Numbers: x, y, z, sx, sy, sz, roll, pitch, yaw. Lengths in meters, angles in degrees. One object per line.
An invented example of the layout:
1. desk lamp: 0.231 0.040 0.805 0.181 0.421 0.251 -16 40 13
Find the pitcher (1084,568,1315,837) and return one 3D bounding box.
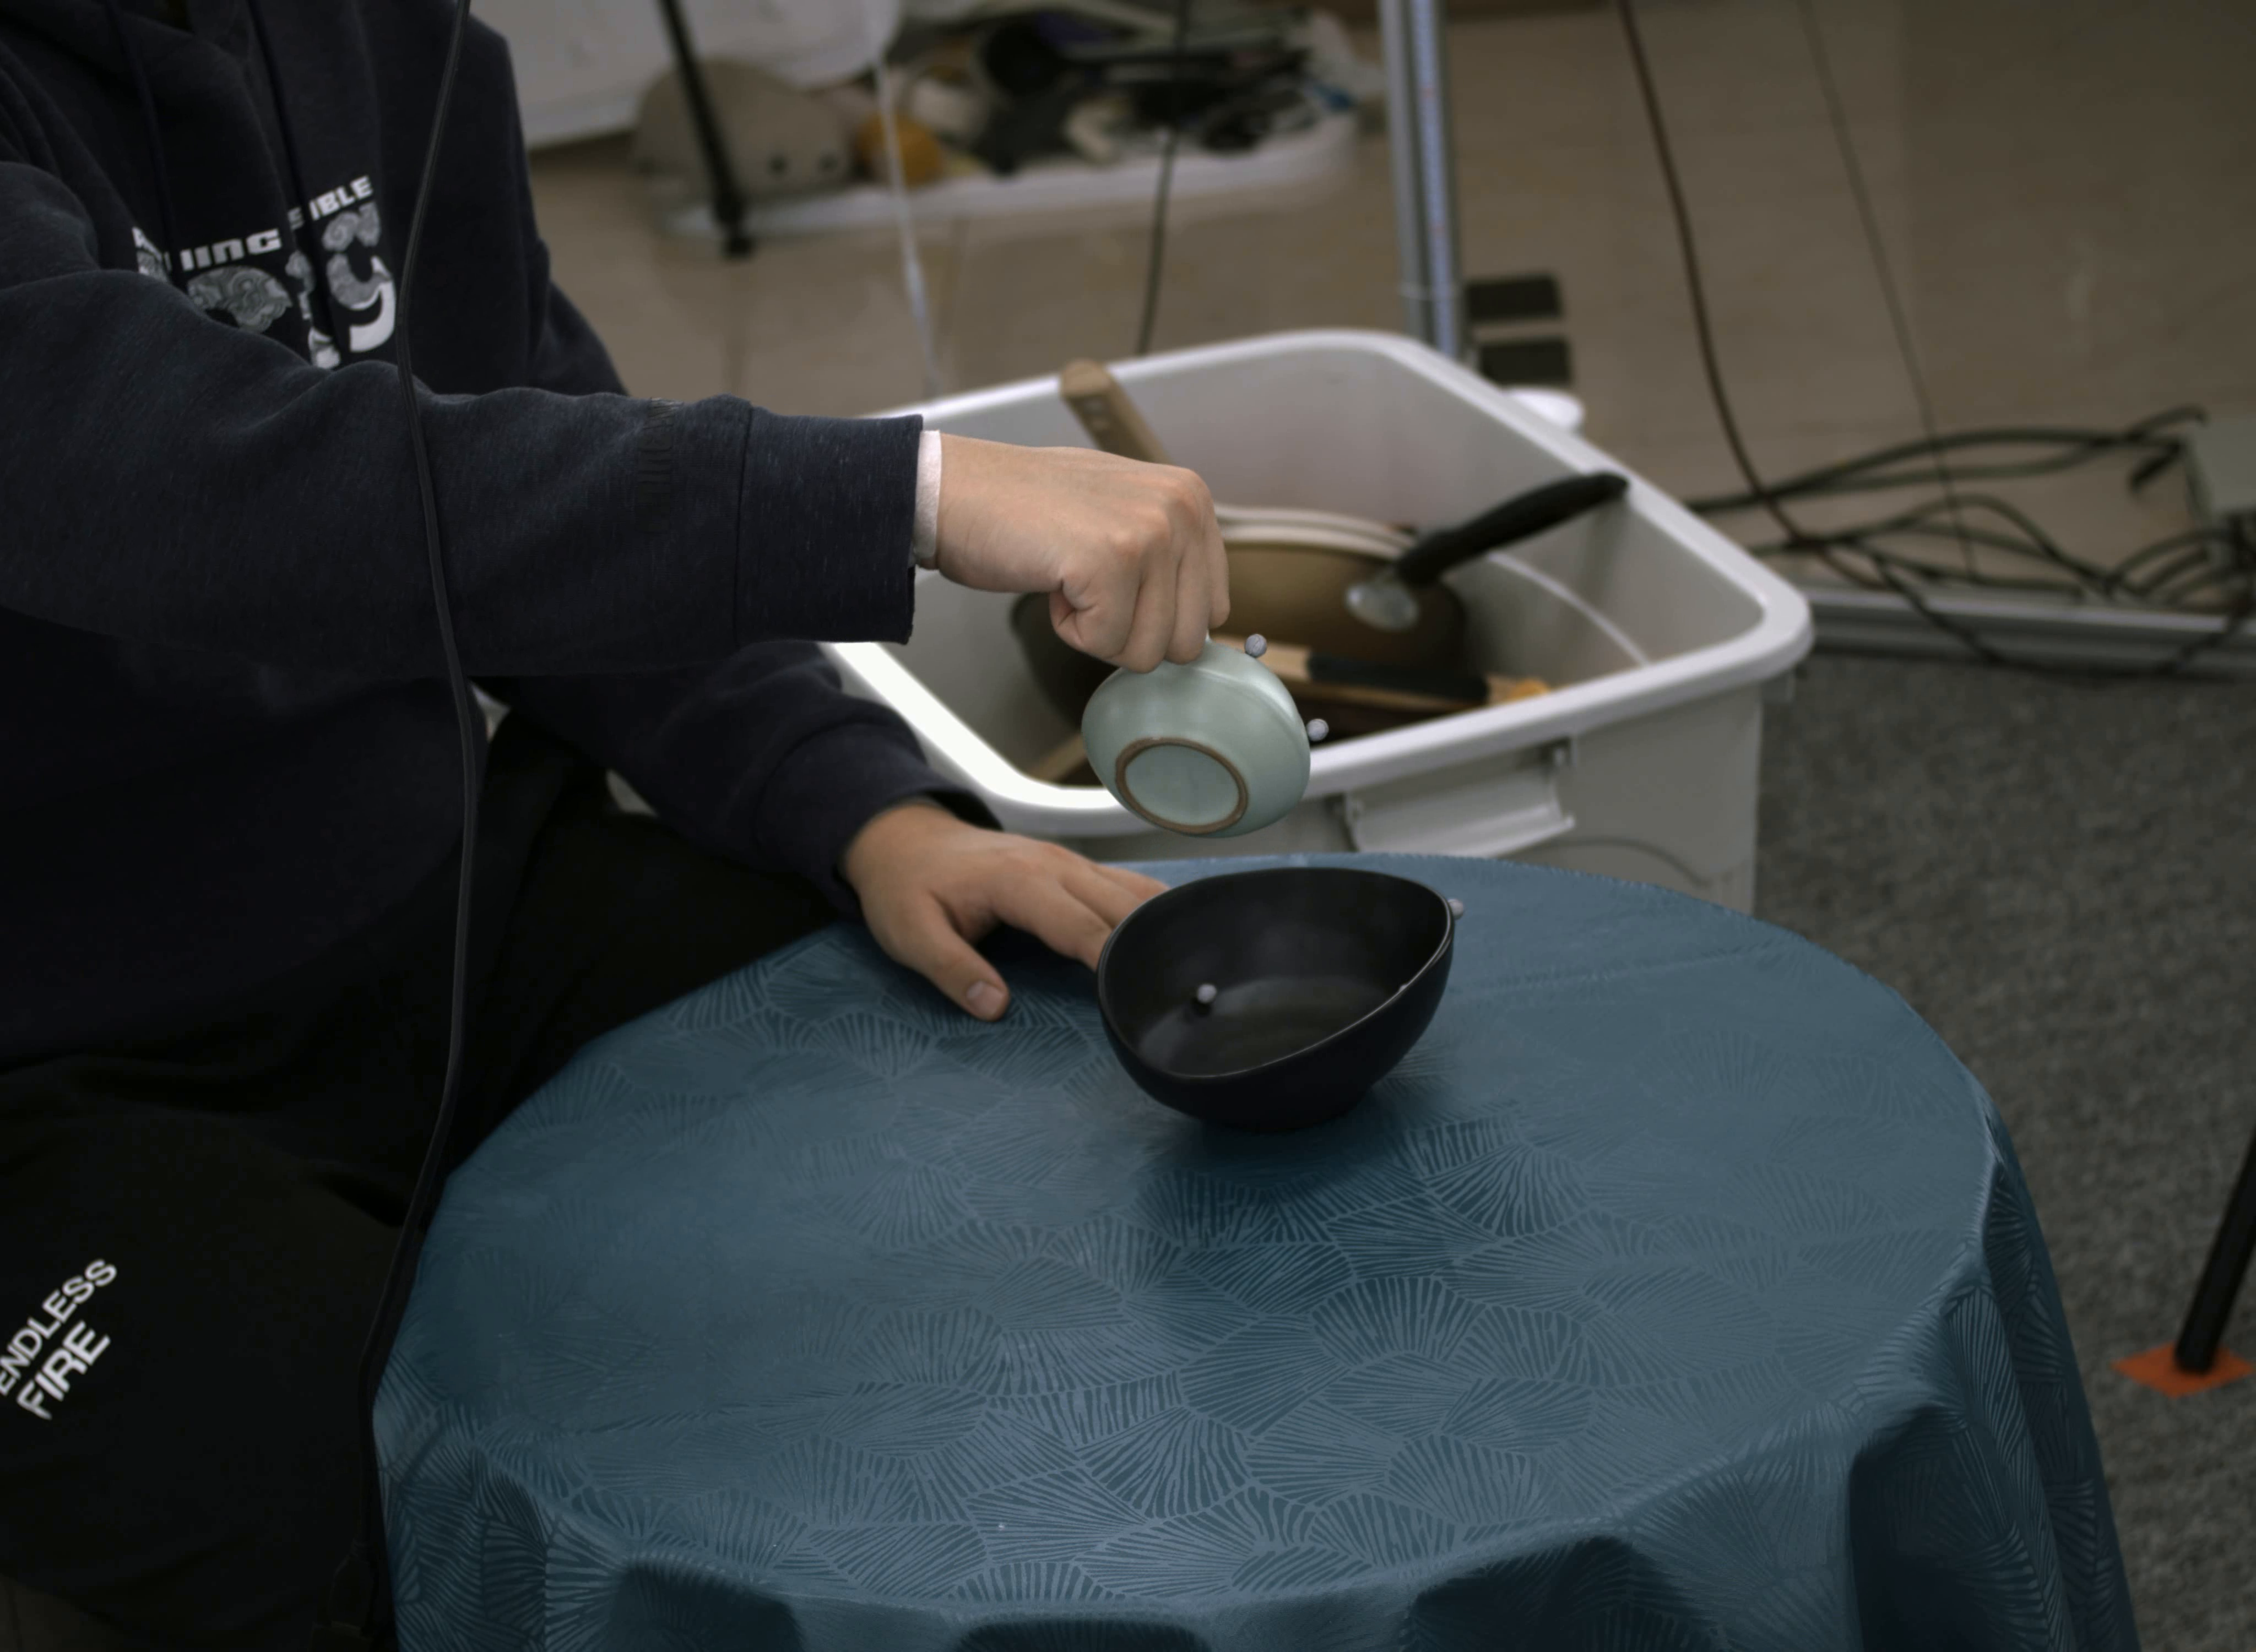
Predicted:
1. pitcher: 0.025 -0.043 2.070 0.086 0.110 0.059 0 47 18

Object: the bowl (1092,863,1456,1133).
1. bowl: 0.059 0.075 2.198 0.137 0.068 0.168 3 27 21
